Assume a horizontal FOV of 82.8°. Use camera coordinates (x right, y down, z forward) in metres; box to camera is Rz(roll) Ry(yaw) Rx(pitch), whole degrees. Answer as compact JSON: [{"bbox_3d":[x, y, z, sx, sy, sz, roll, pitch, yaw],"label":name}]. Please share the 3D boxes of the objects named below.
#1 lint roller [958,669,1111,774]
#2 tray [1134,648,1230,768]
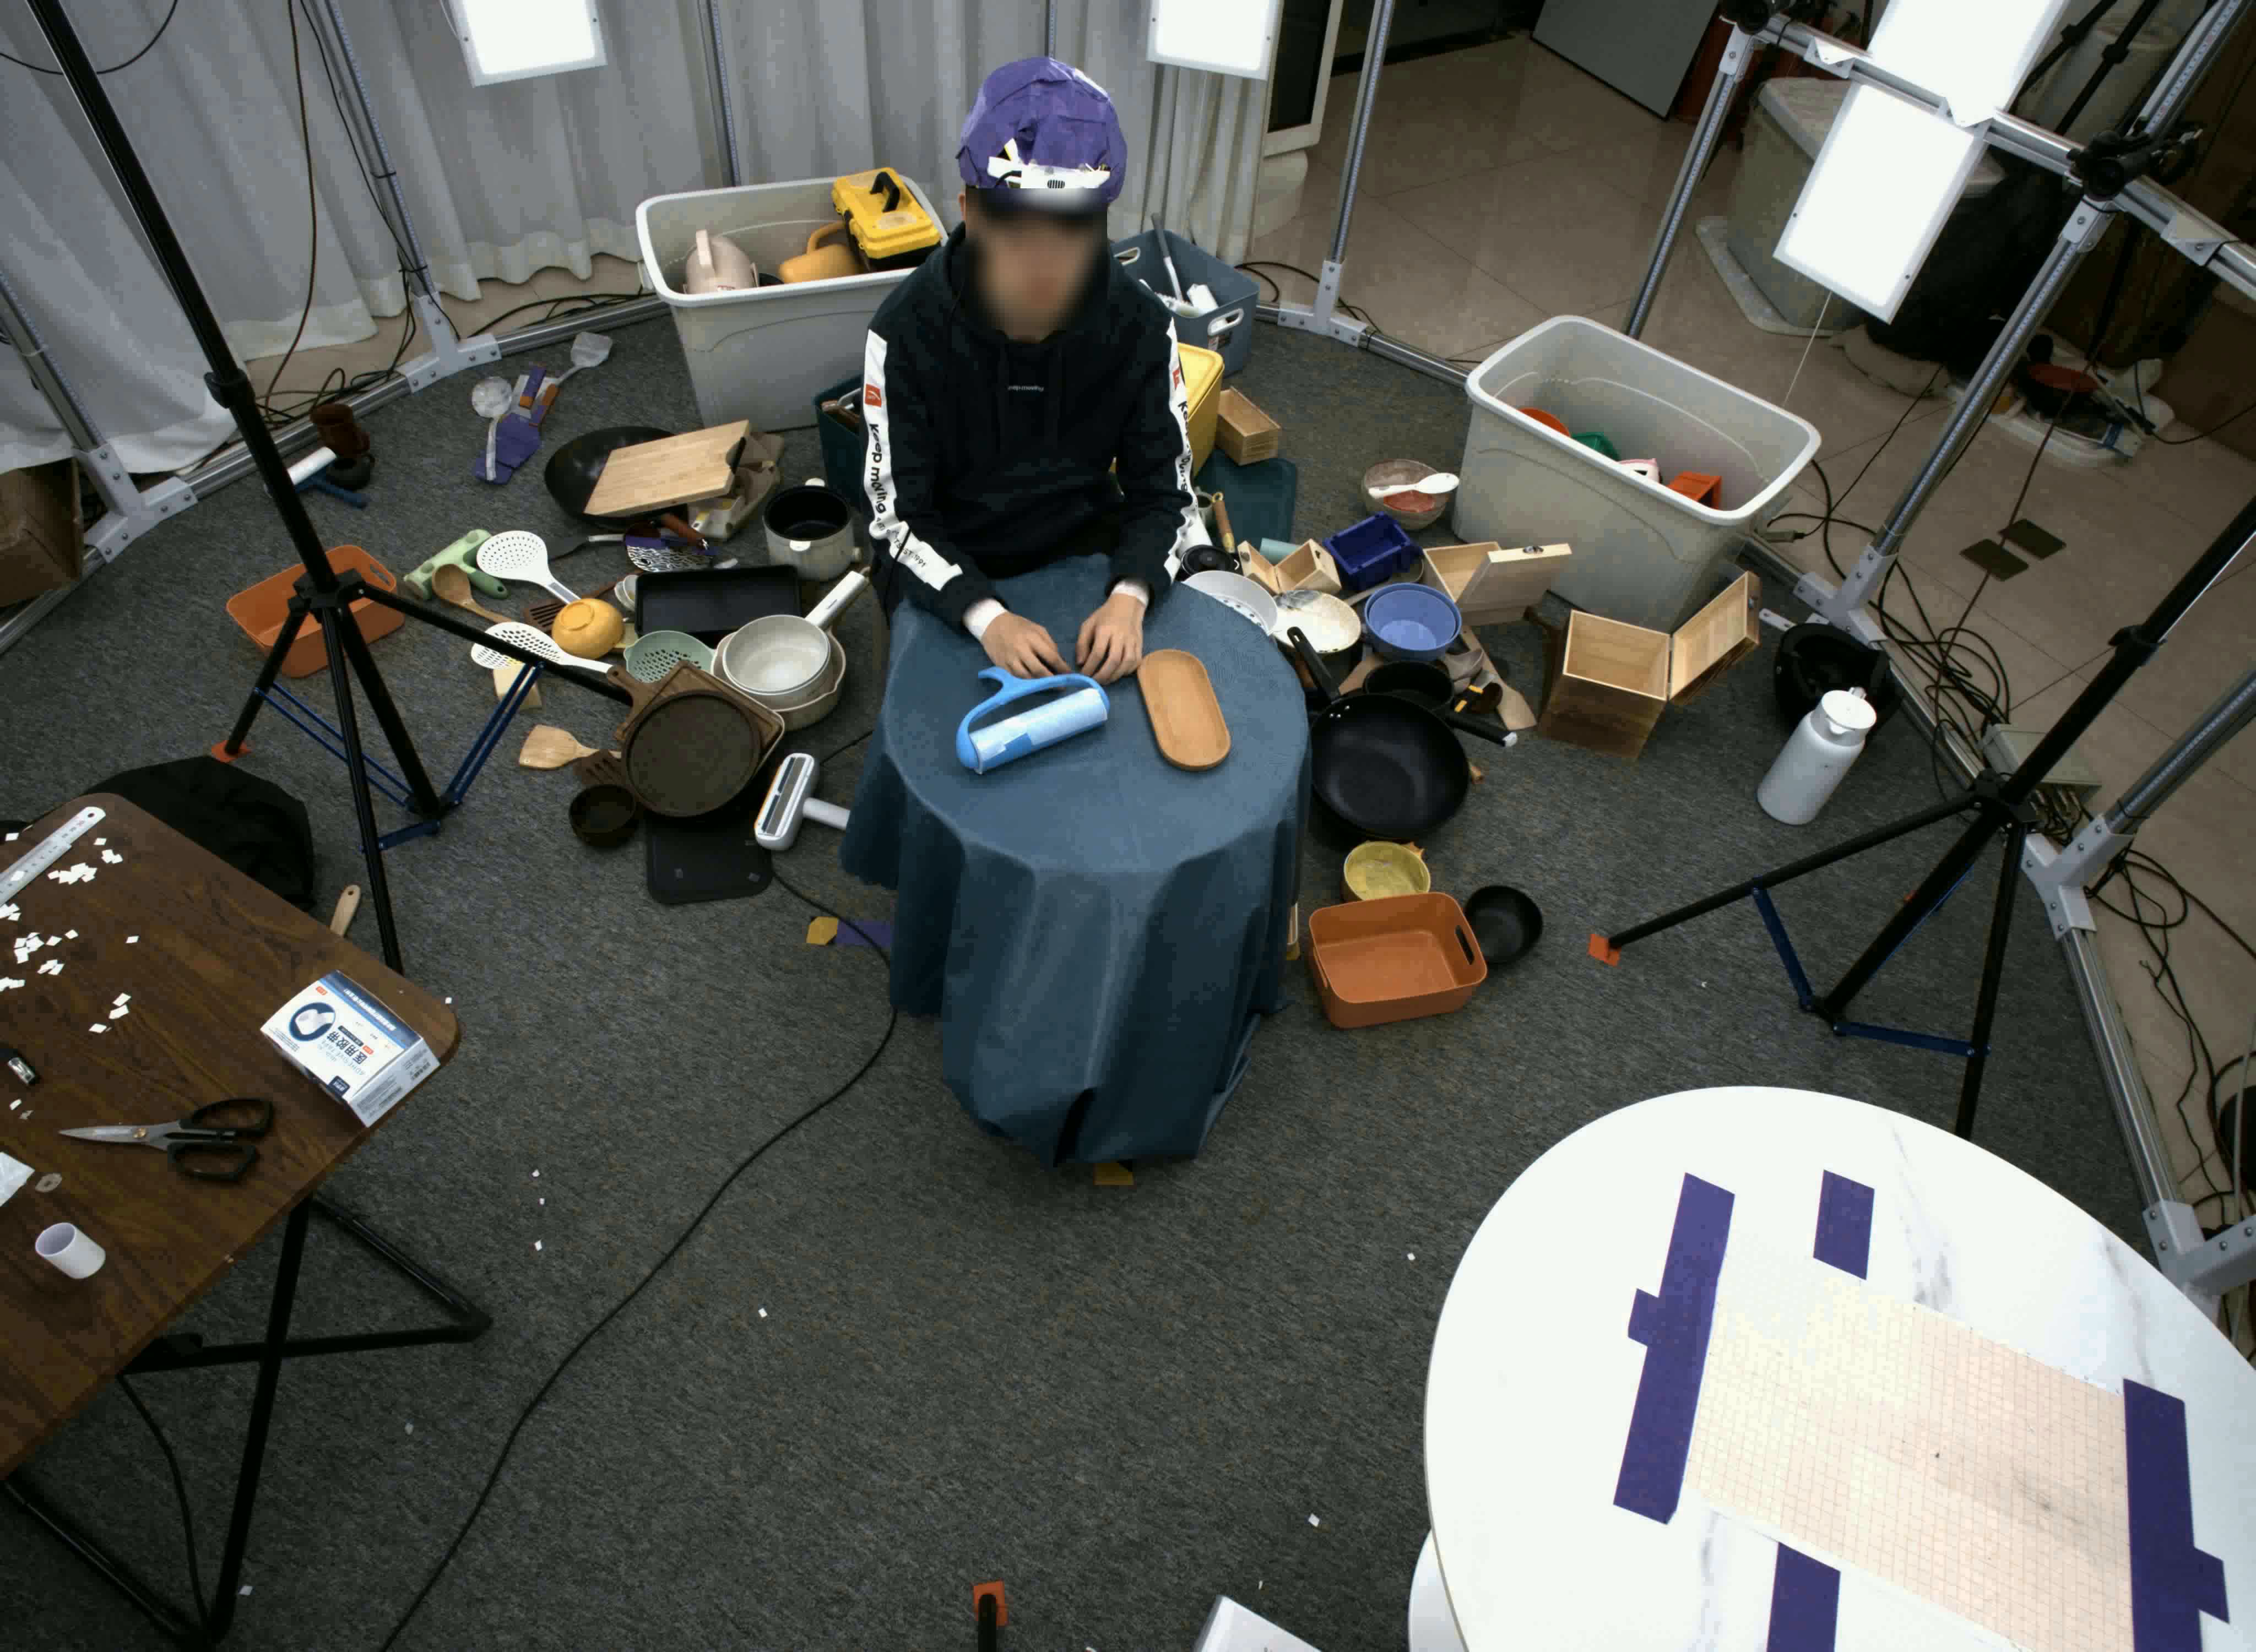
[{"bbox_3d":[-0.157,-0.171,1.769,0.230,0.066,0.184,-27,56,-22],"label":"lint roller"},{"bbox_3d":[0.074,-0.168,1.808,0.101,0.020,0.237,-7,48,-11],"label":"tray"}]
